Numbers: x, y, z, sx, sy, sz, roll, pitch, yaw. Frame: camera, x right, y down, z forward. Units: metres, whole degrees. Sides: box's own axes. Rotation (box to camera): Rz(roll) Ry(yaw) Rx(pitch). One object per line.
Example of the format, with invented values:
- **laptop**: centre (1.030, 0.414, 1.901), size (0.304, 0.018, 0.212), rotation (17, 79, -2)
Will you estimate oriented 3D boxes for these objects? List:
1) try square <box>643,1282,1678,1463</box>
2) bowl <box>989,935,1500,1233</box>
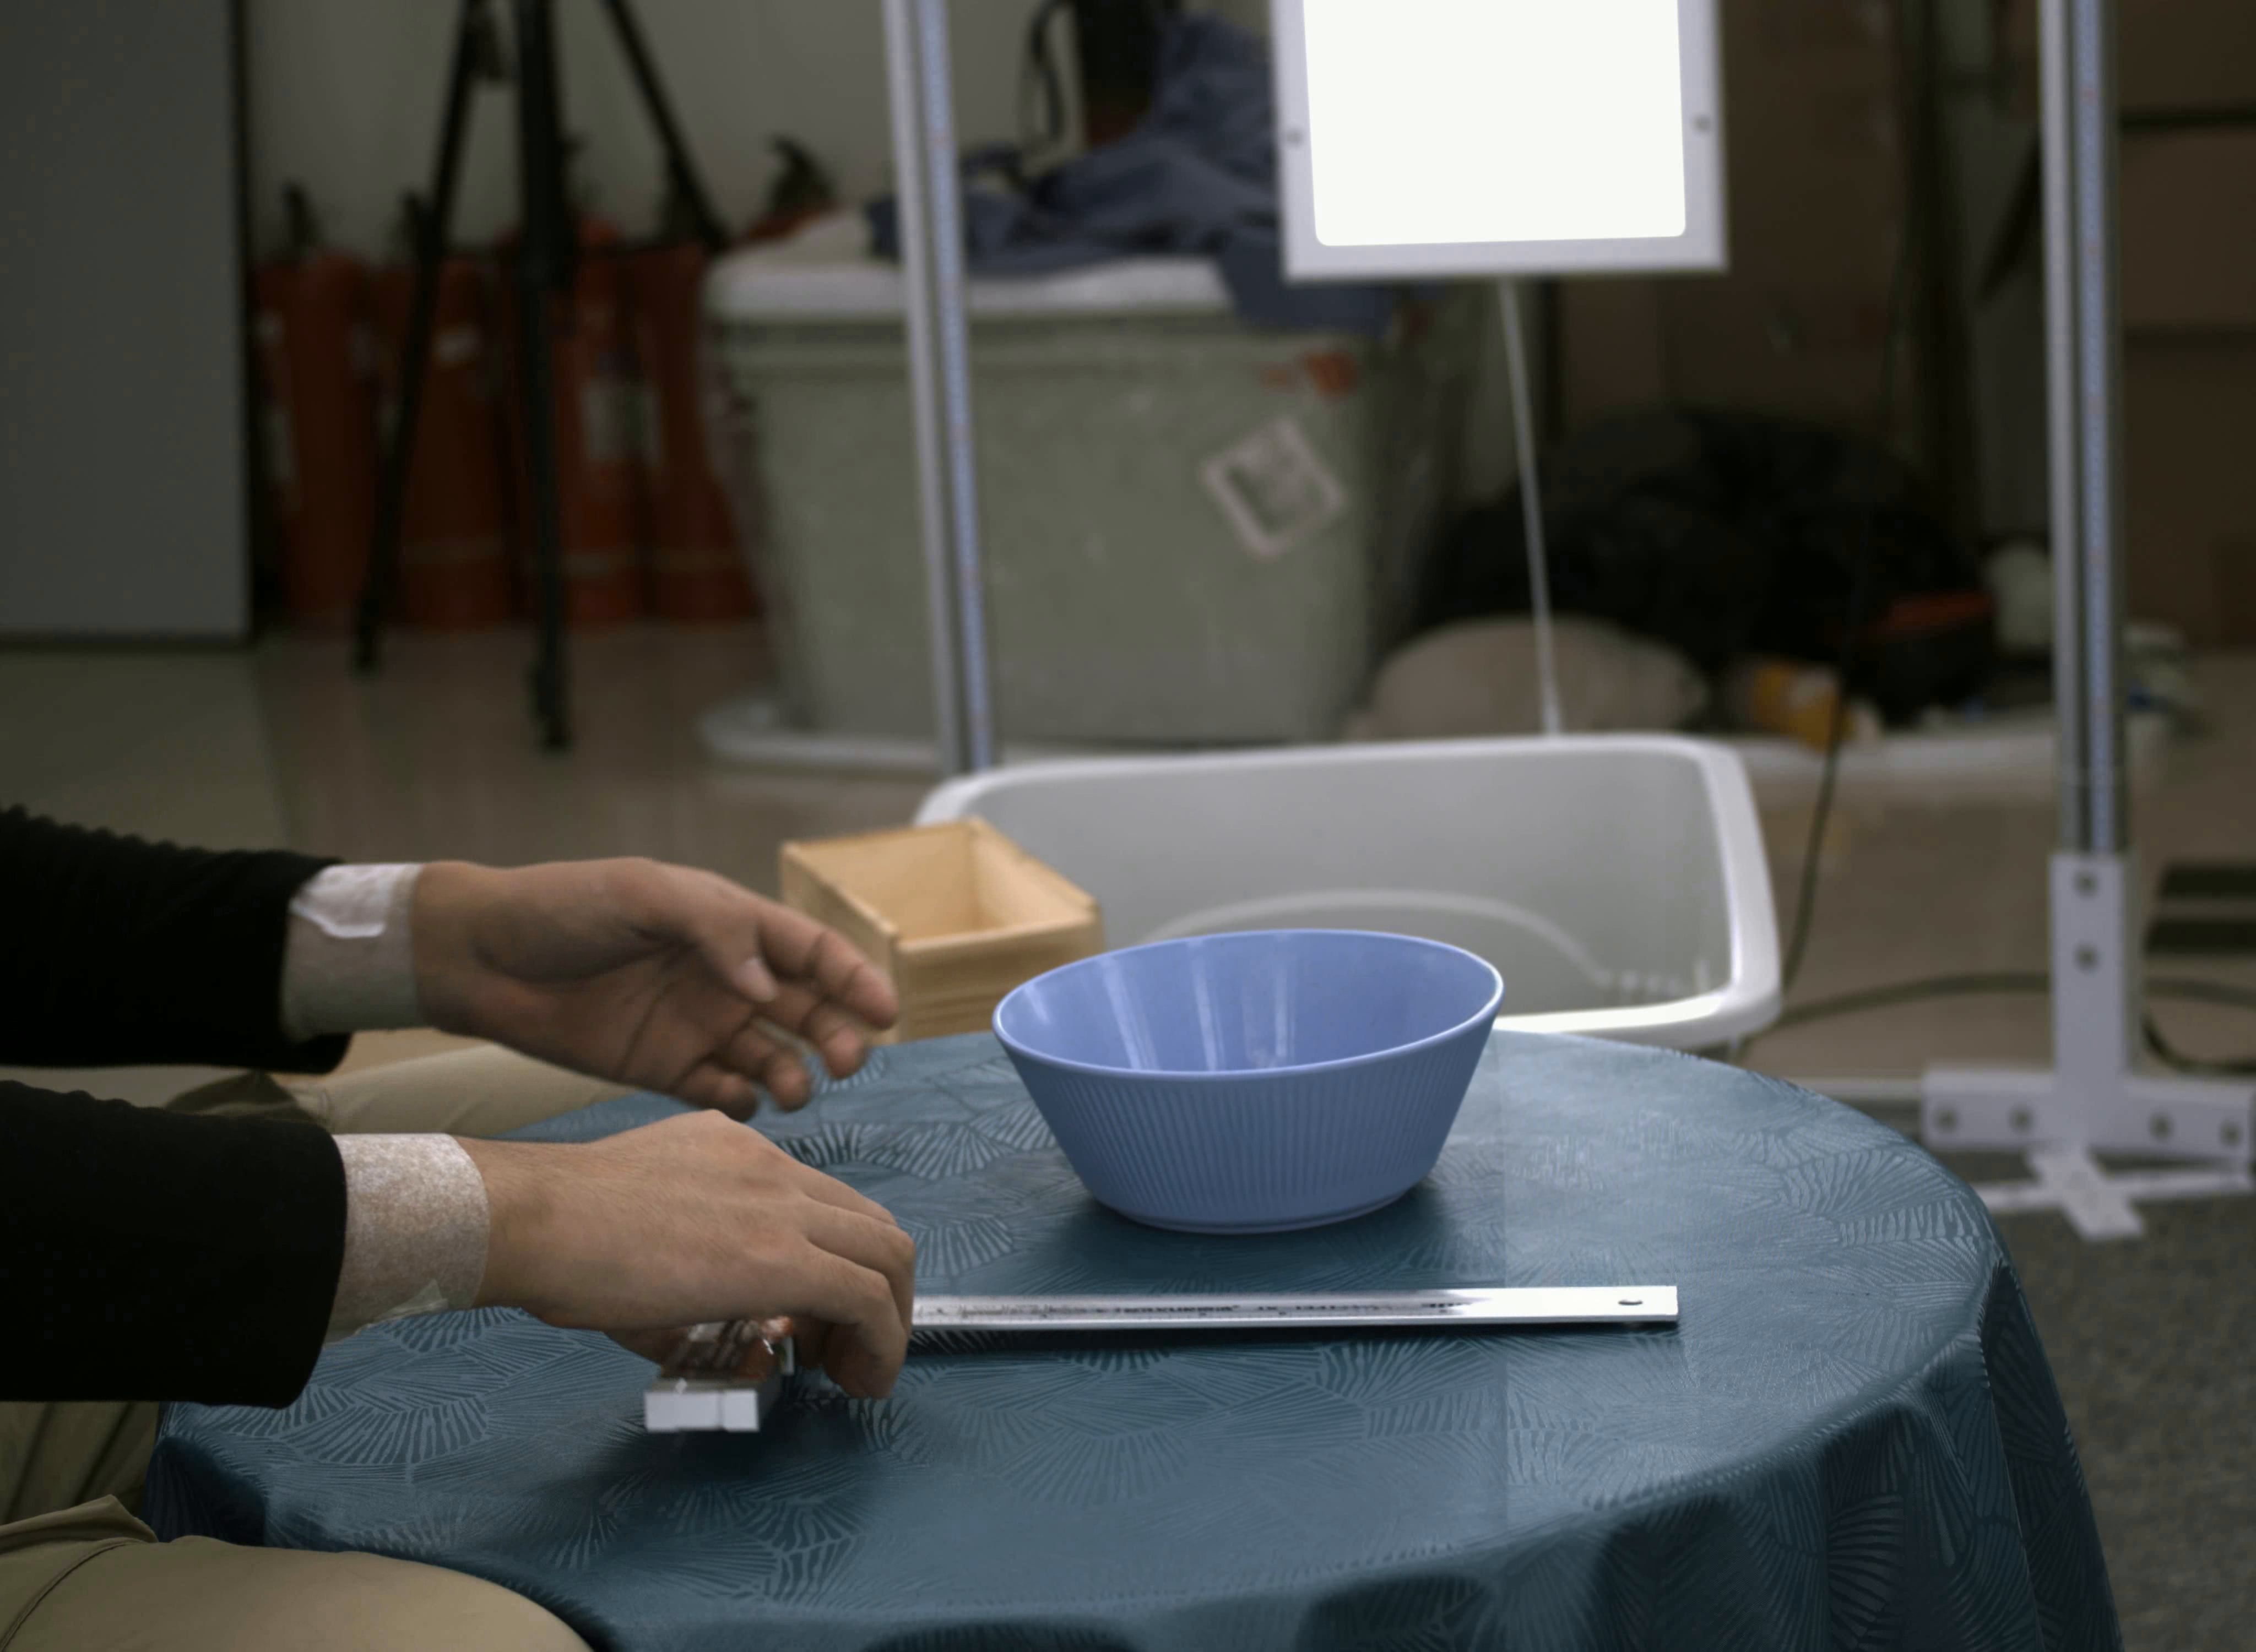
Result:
- **try square**: centre (0.015, 0.165, 1.700), size (0.314, 0.016, 0.151), rotation (-2, 11, 7)
- **bowl**: centre (0.042, 0.090, 1.884), size (0.175, 0.070, 0.176), rotation (-5, 14, 0)
